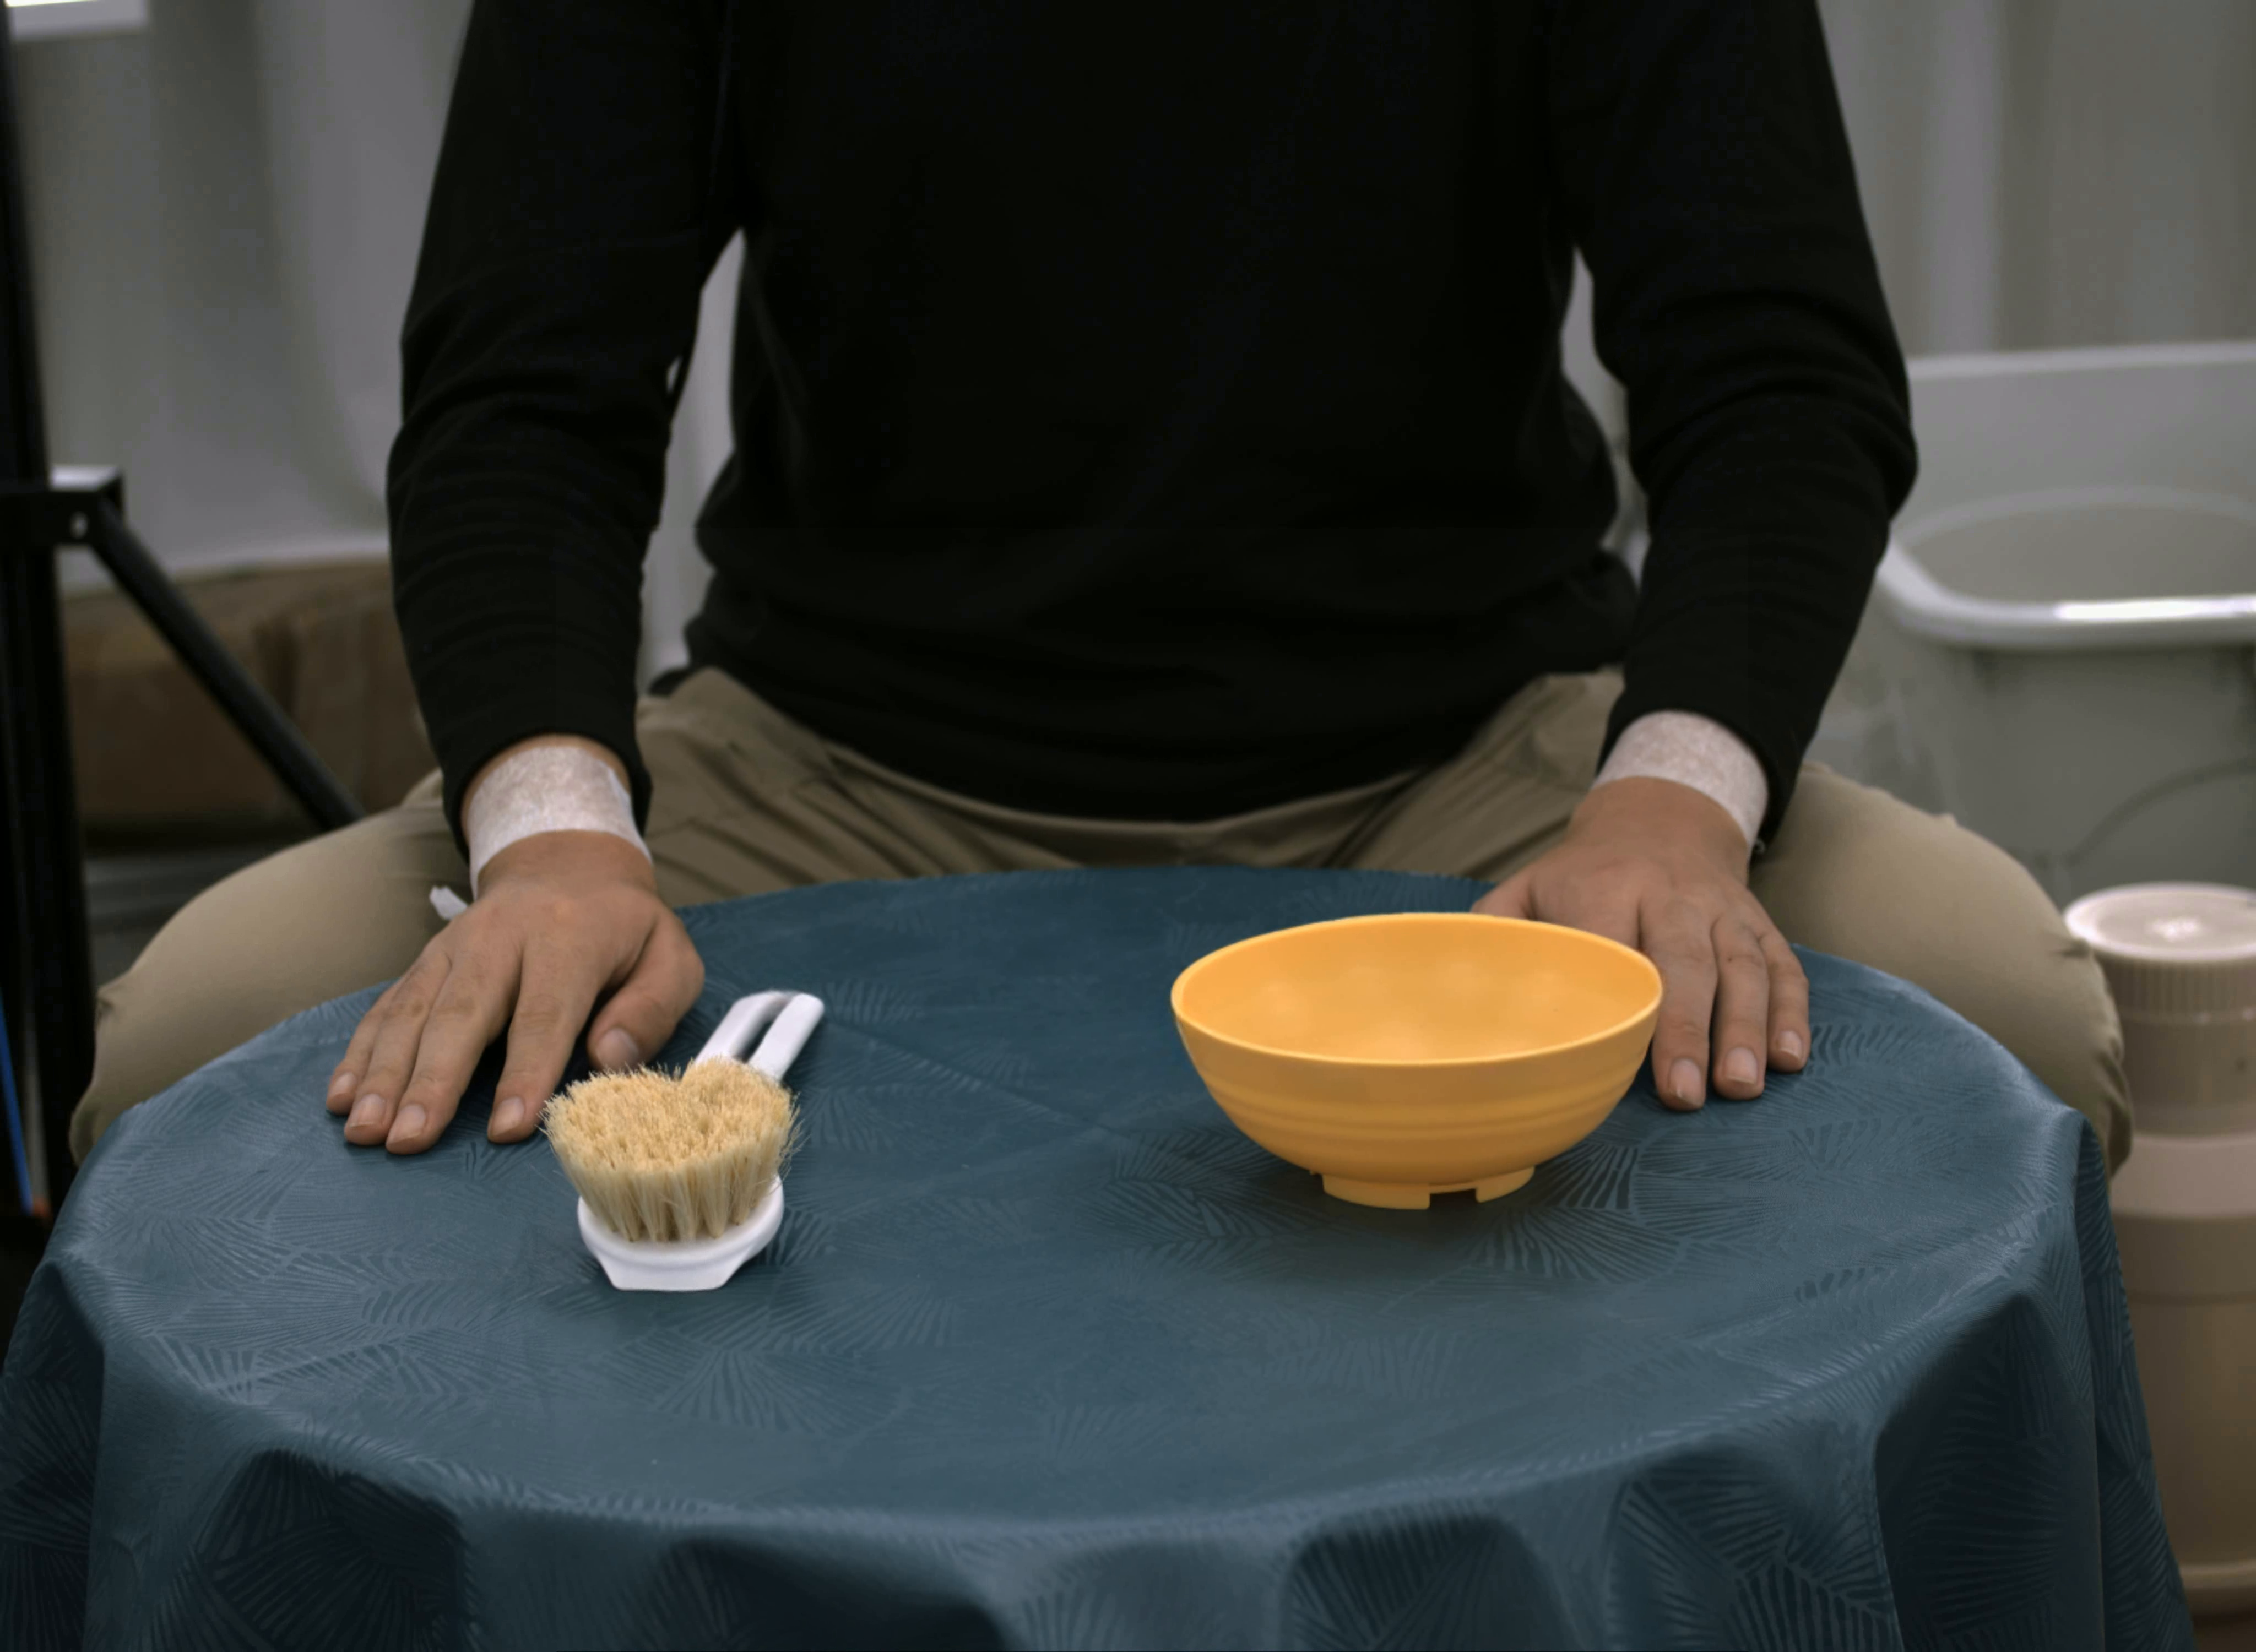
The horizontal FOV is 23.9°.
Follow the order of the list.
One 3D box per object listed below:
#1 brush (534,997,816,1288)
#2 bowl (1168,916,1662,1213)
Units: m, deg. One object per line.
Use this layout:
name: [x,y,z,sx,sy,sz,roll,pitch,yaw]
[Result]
brush: [-0.127,0.071,1.613,0.068,0.056,0.266,4,15,4]
bowl: [0.084,0.075,1.554,0.144,0.060,0.146,-1,15,-1]
